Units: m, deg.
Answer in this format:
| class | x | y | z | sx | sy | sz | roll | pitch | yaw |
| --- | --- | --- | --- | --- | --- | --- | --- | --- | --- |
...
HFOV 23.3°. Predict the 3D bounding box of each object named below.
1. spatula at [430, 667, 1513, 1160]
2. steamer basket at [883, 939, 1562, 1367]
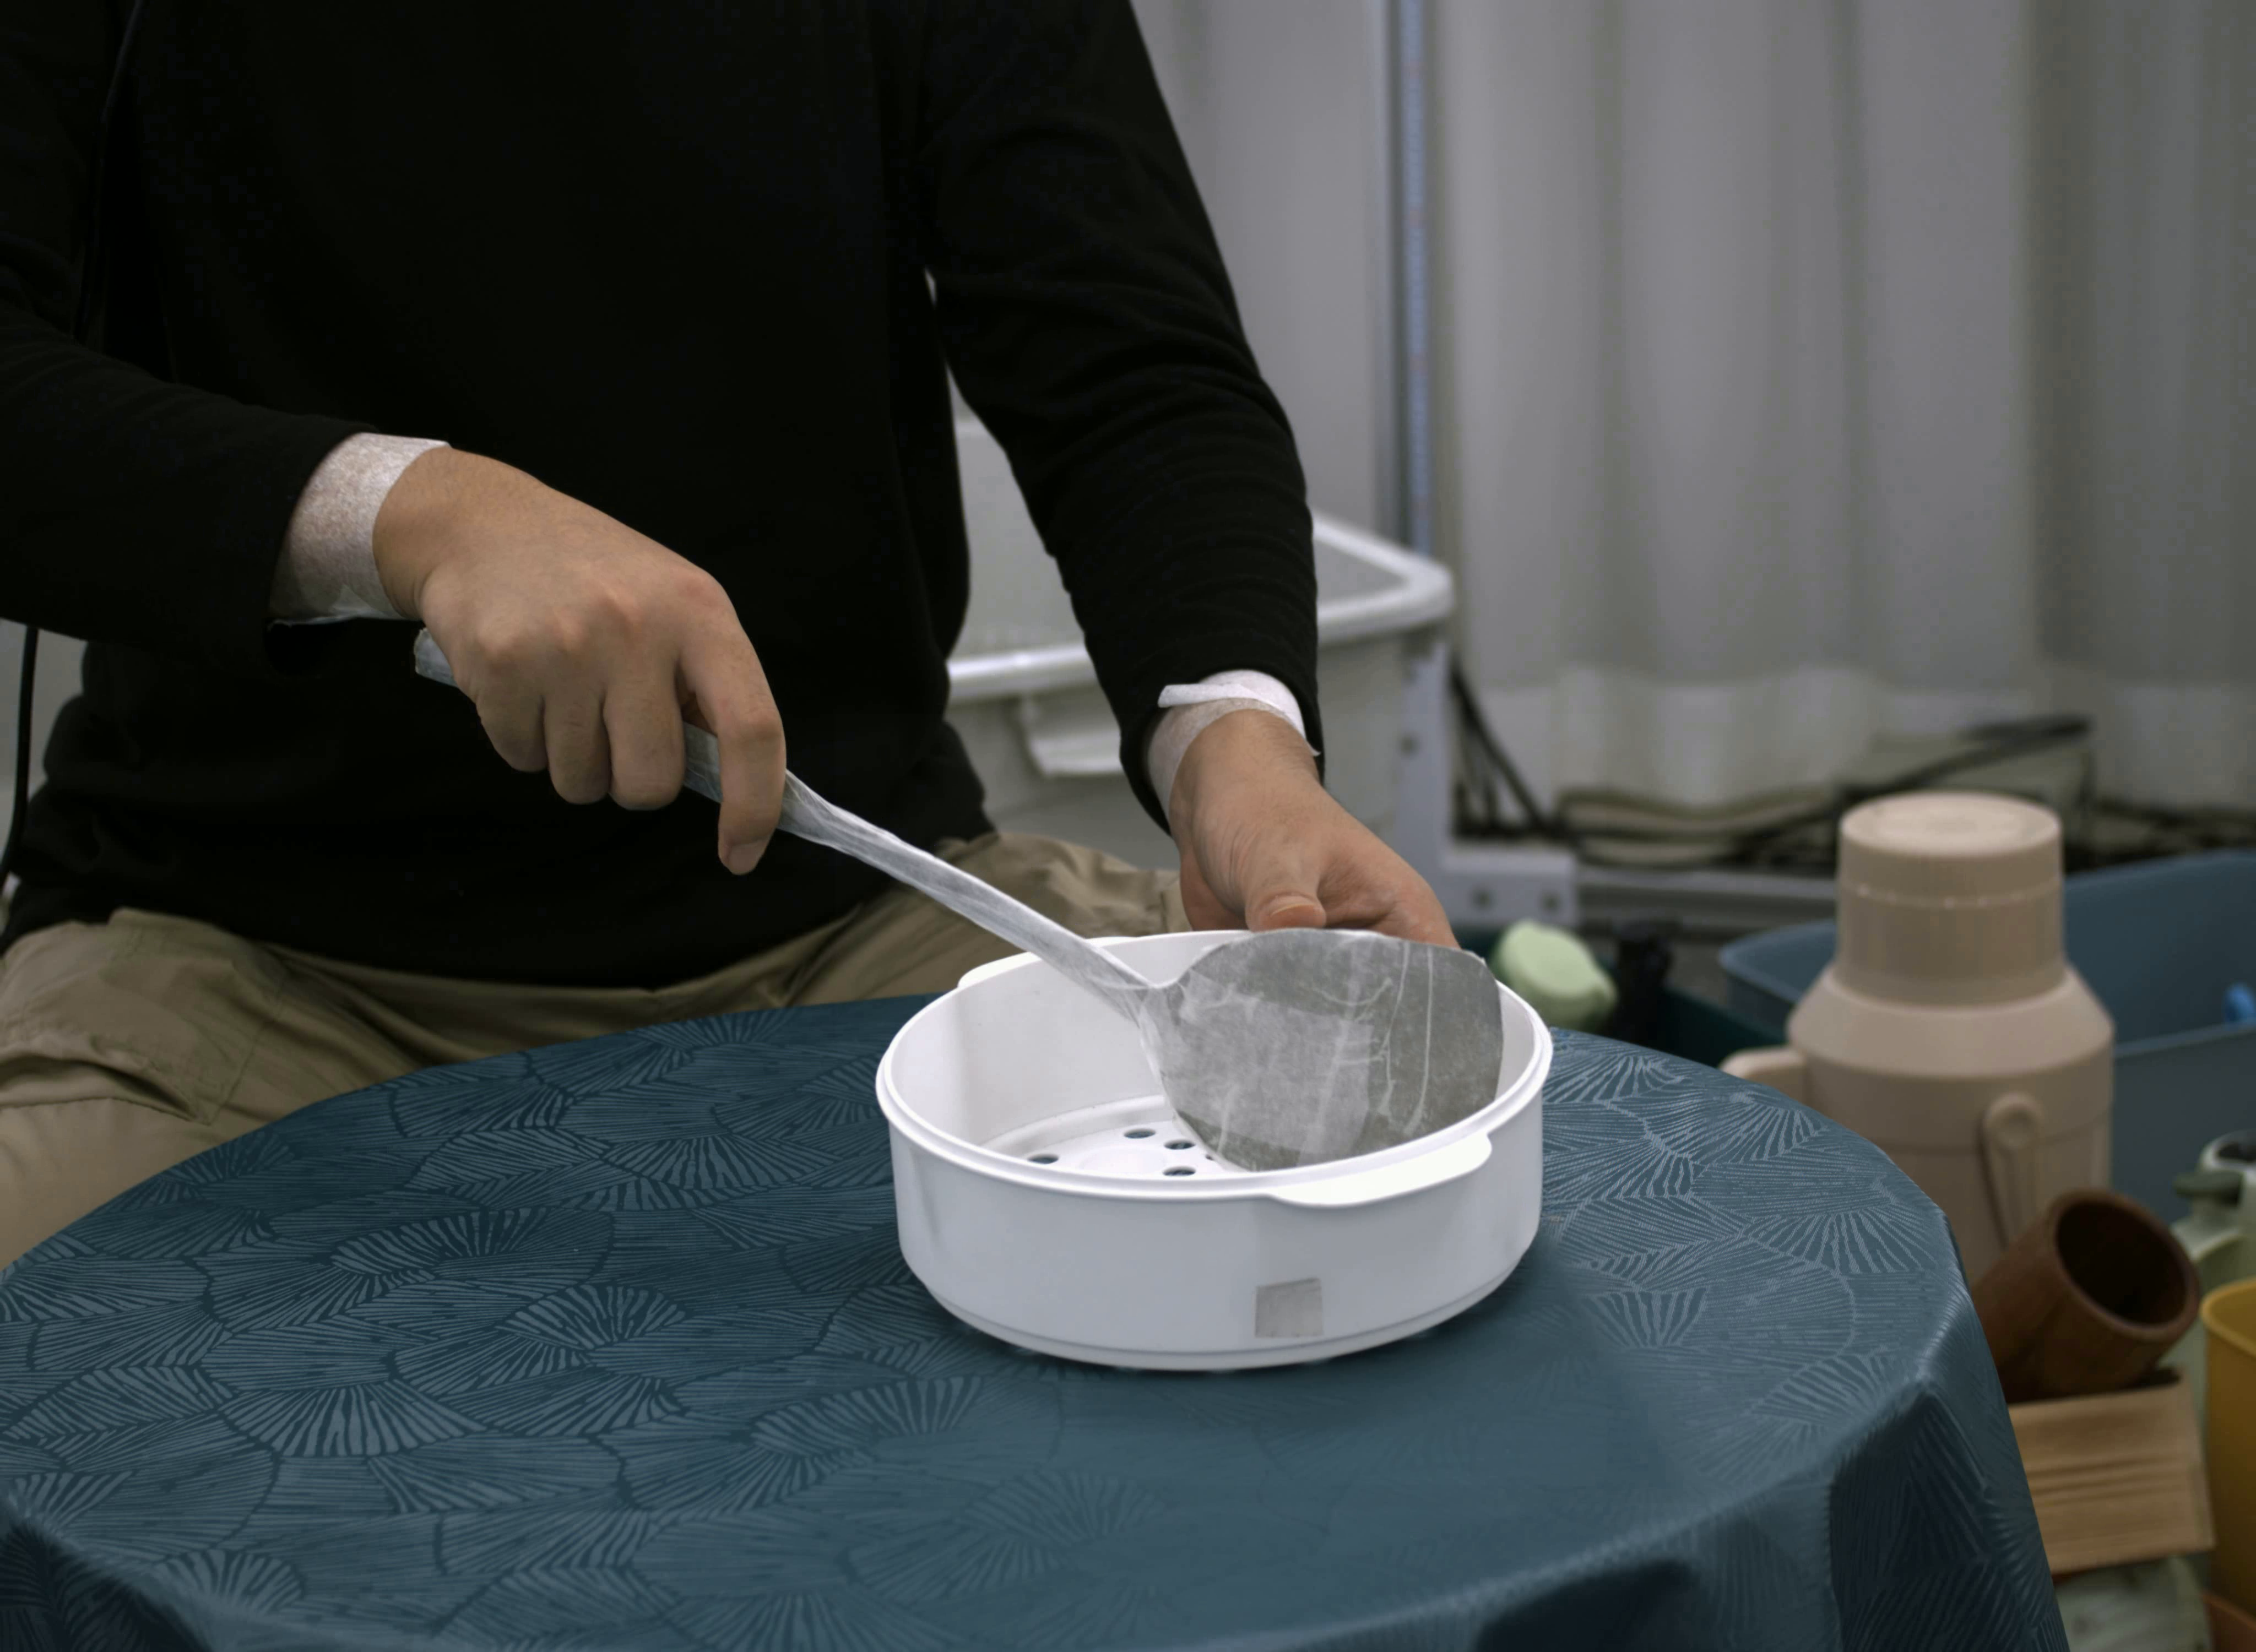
| class | x | y | z | sx | sy | sz | roll | pitch | yaw |
| --- | --- | --- | --- | --- | --- | --- | --- | --- | --- |
| spatula | -0.053 | 0.017 | 1.666 | 0.367 | 0.098 | 0.045 | 26 | 36 | 21 |
| steamer basket | 0.029 | 0.097 | 1.624 | 0.201 | 0.069 | 0.232 | -12 | 20 | -26 |
